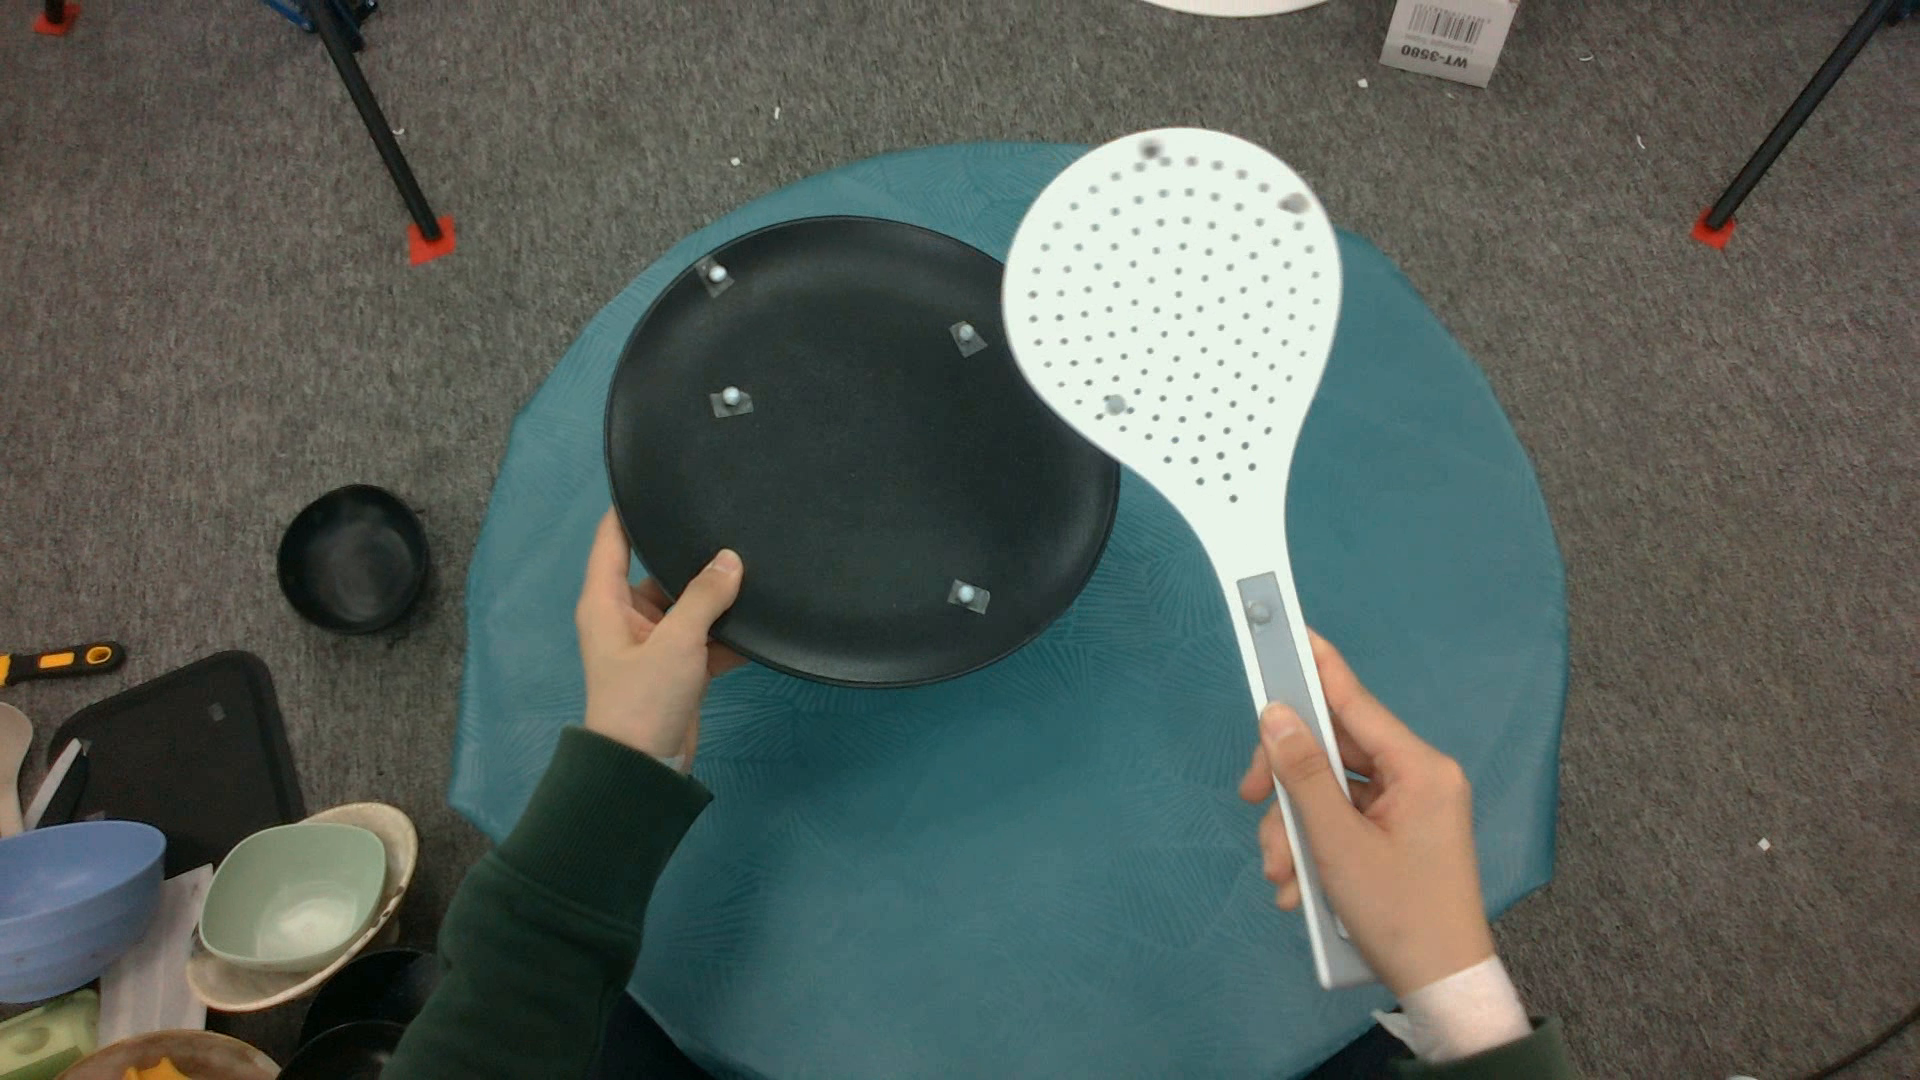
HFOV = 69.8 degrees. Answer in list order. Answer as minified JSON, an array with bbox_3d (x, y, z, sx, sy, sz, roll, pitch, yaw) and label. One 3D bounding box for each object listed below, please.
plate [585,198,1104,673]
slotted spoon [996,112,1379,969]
[{"bbox_3d":[-0.051,-0.054,0.651,0.244,0.023,0.245,5,68,-12],"label":"plate"},{"bbox_3d":[0.107,-0.008,0.552,0.136,0.046,0.350,-16,73,13],"label":"slotted spoon"}]
